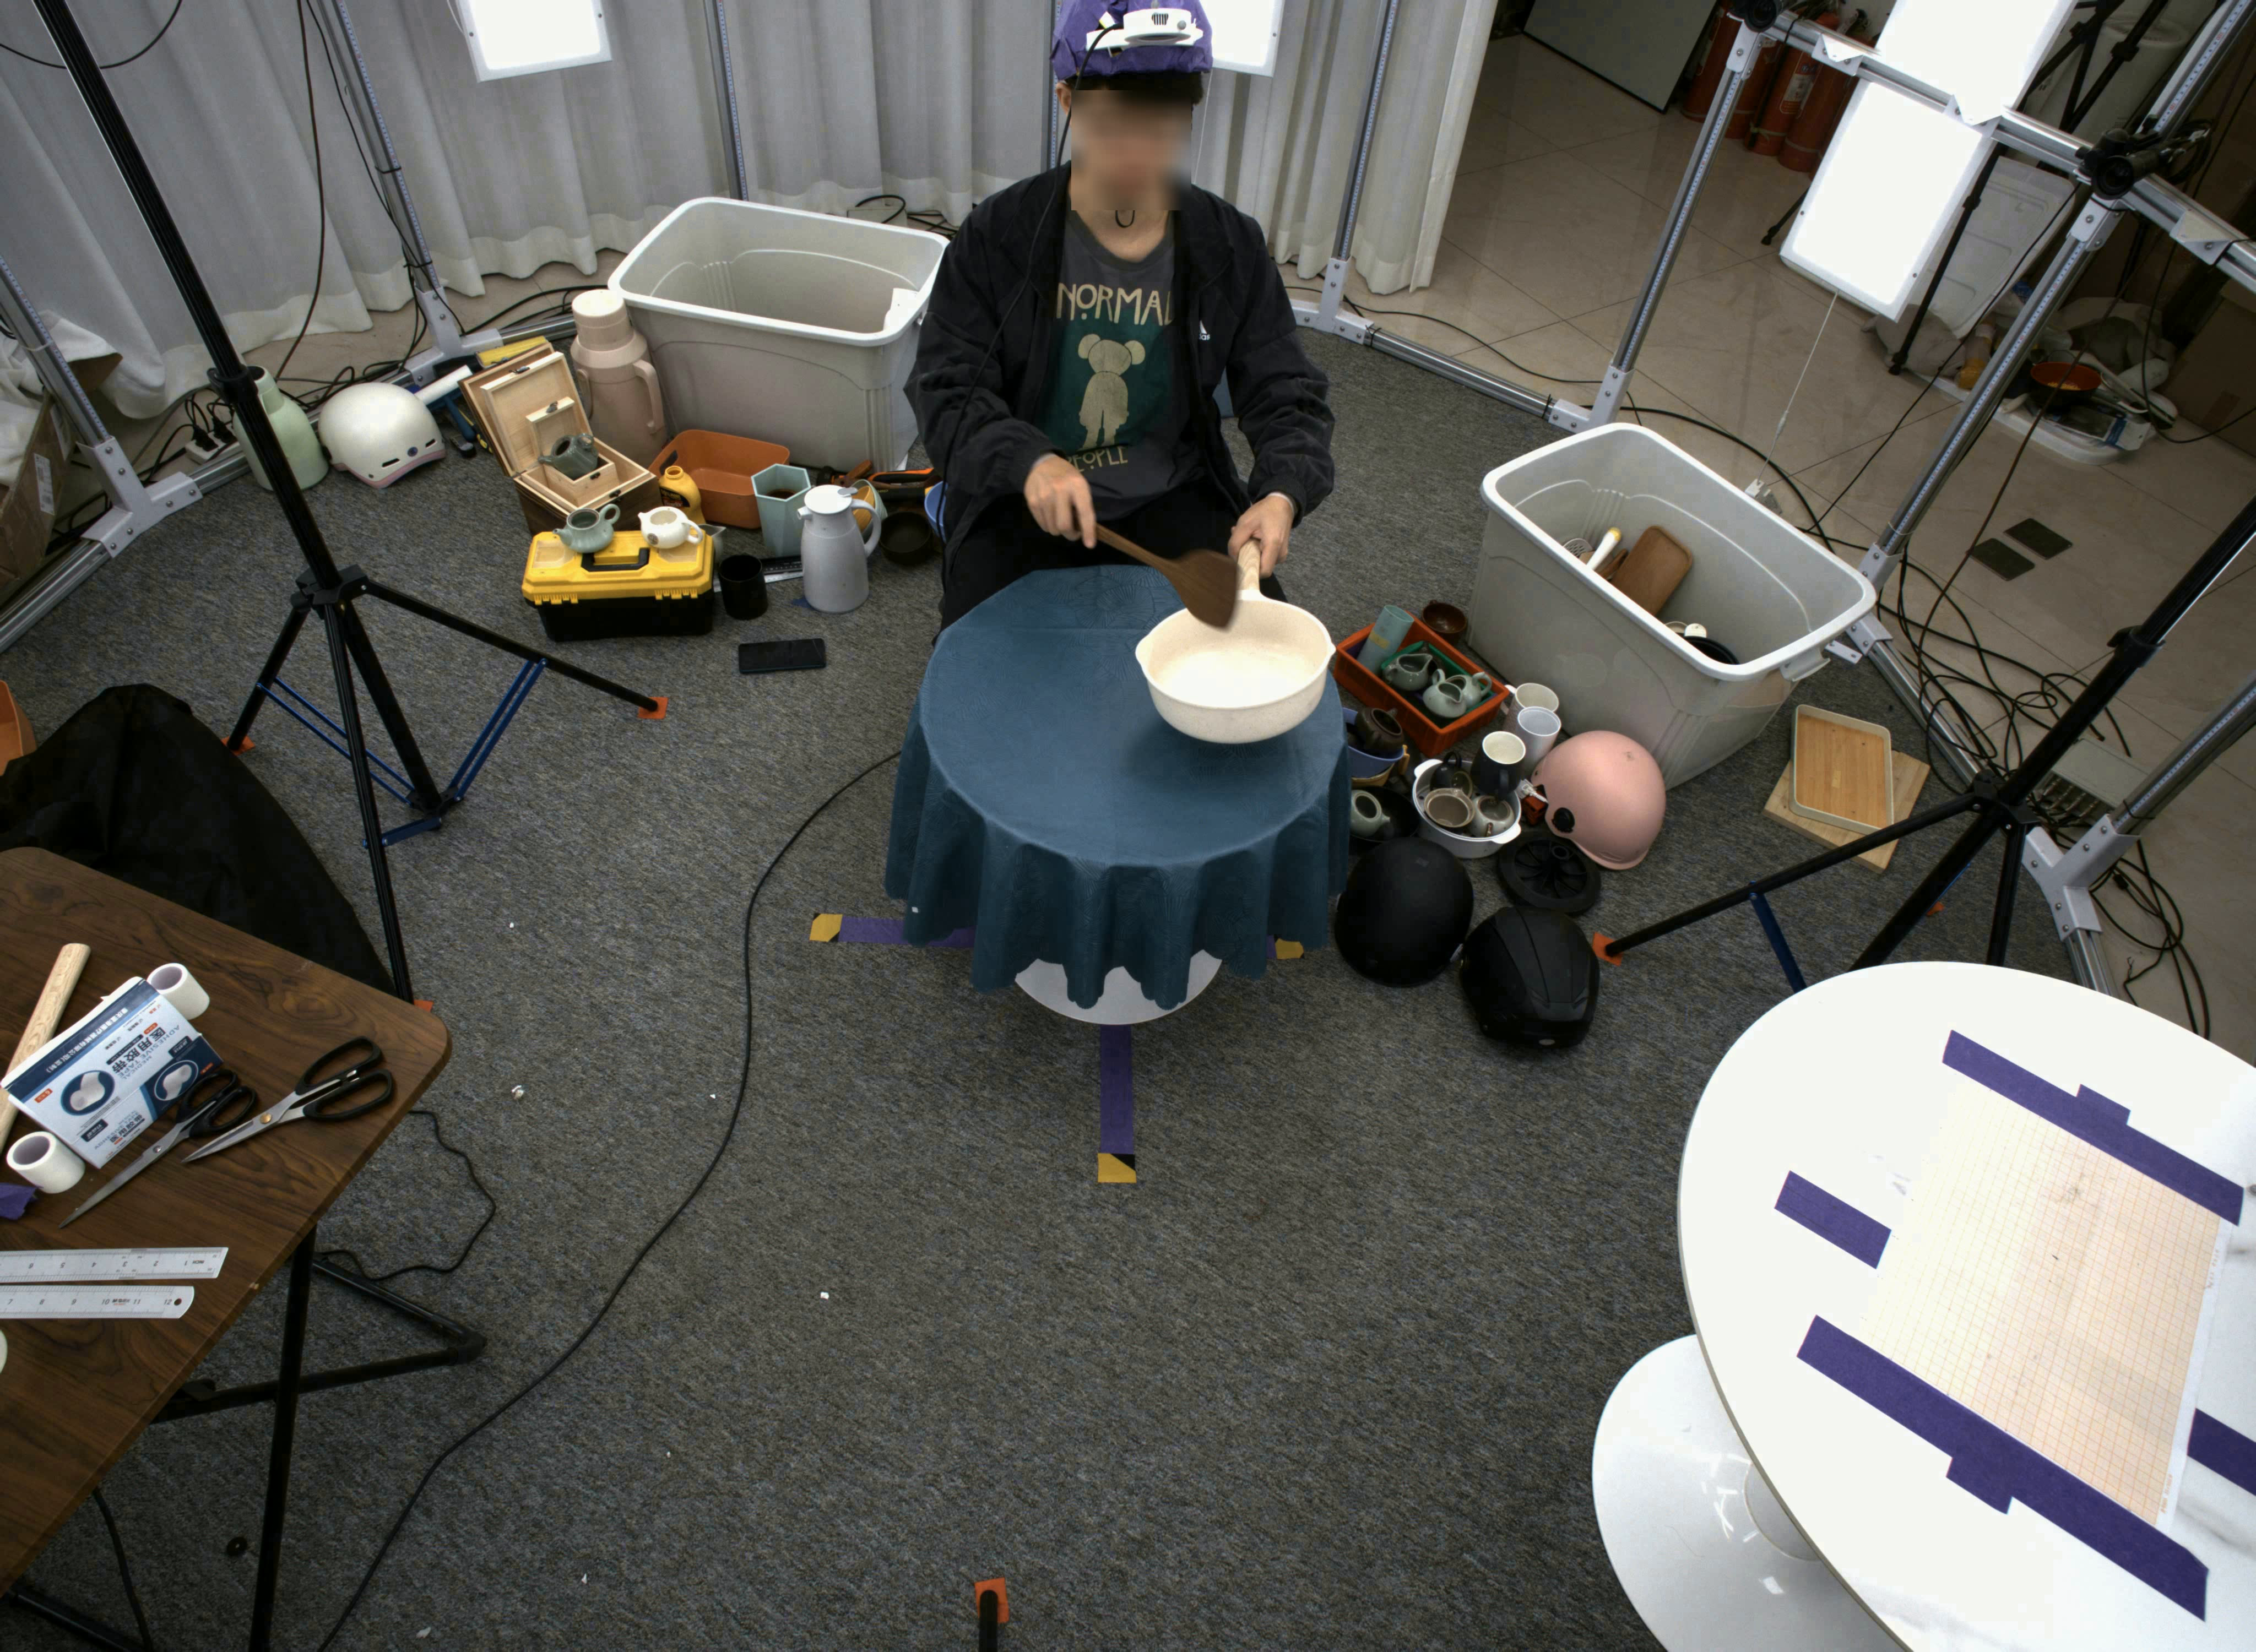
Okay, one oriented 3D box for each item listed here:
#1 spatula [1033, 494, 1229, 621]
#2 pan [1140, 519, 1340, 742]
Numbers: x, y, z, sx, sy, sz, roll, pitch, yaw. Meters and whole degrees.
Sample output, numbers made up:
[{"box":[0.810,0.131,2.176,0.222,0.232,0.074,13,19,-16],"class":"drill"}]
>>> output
[{"box":[-0.004,-0.371,1.689,0.016,0.094,0.392,-21,39,-35],"class":"spatula"},{"box":[0.164,-0.272,1.774,0.264,0.099,0.445,-1,41,12],"class":"pan"}]
